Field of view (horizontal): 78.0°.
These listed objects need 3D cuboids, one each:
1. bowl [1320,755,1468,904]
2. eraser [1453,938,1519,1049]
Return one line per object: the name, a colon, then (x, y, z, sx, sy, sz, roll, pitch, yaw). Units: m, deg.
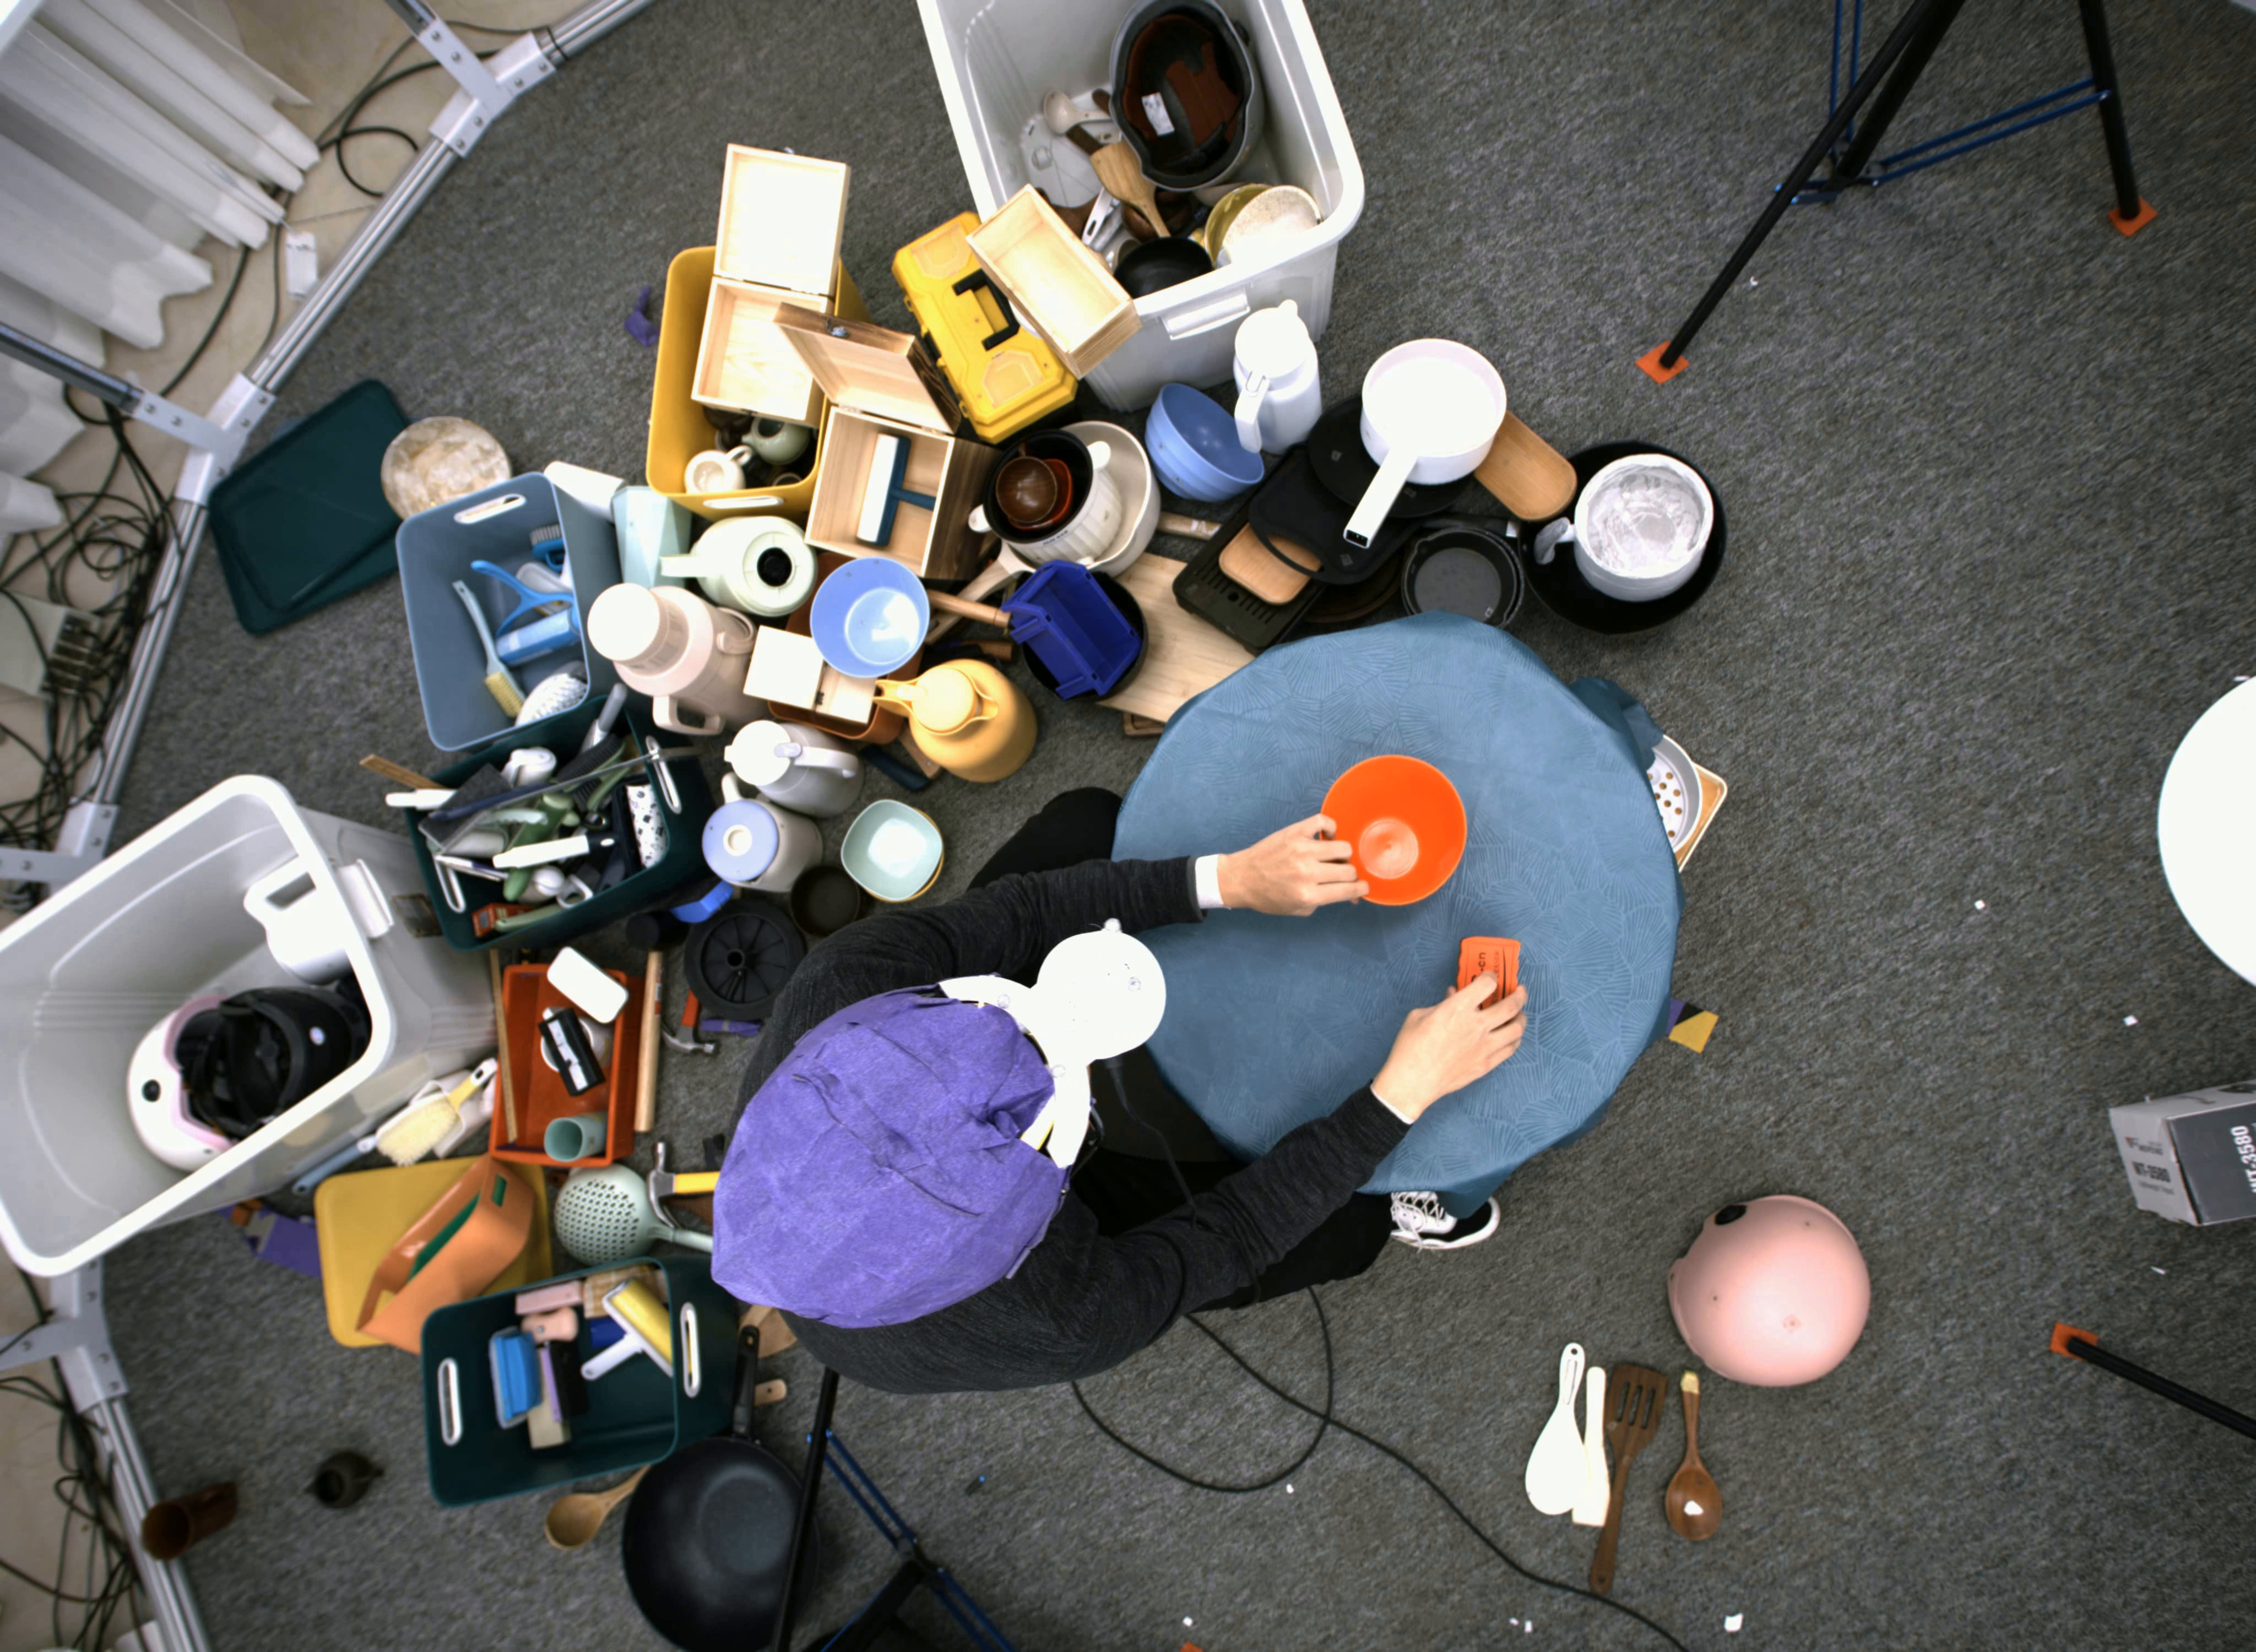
bowl: (0.268, 0.007, 1.410, 0.148, 0.105, 0.147, -1, 85, 5)
eraser: (0.360, 0.165, 1.386, 0.059, 0.023, 0.108, 5, 91, 7)
